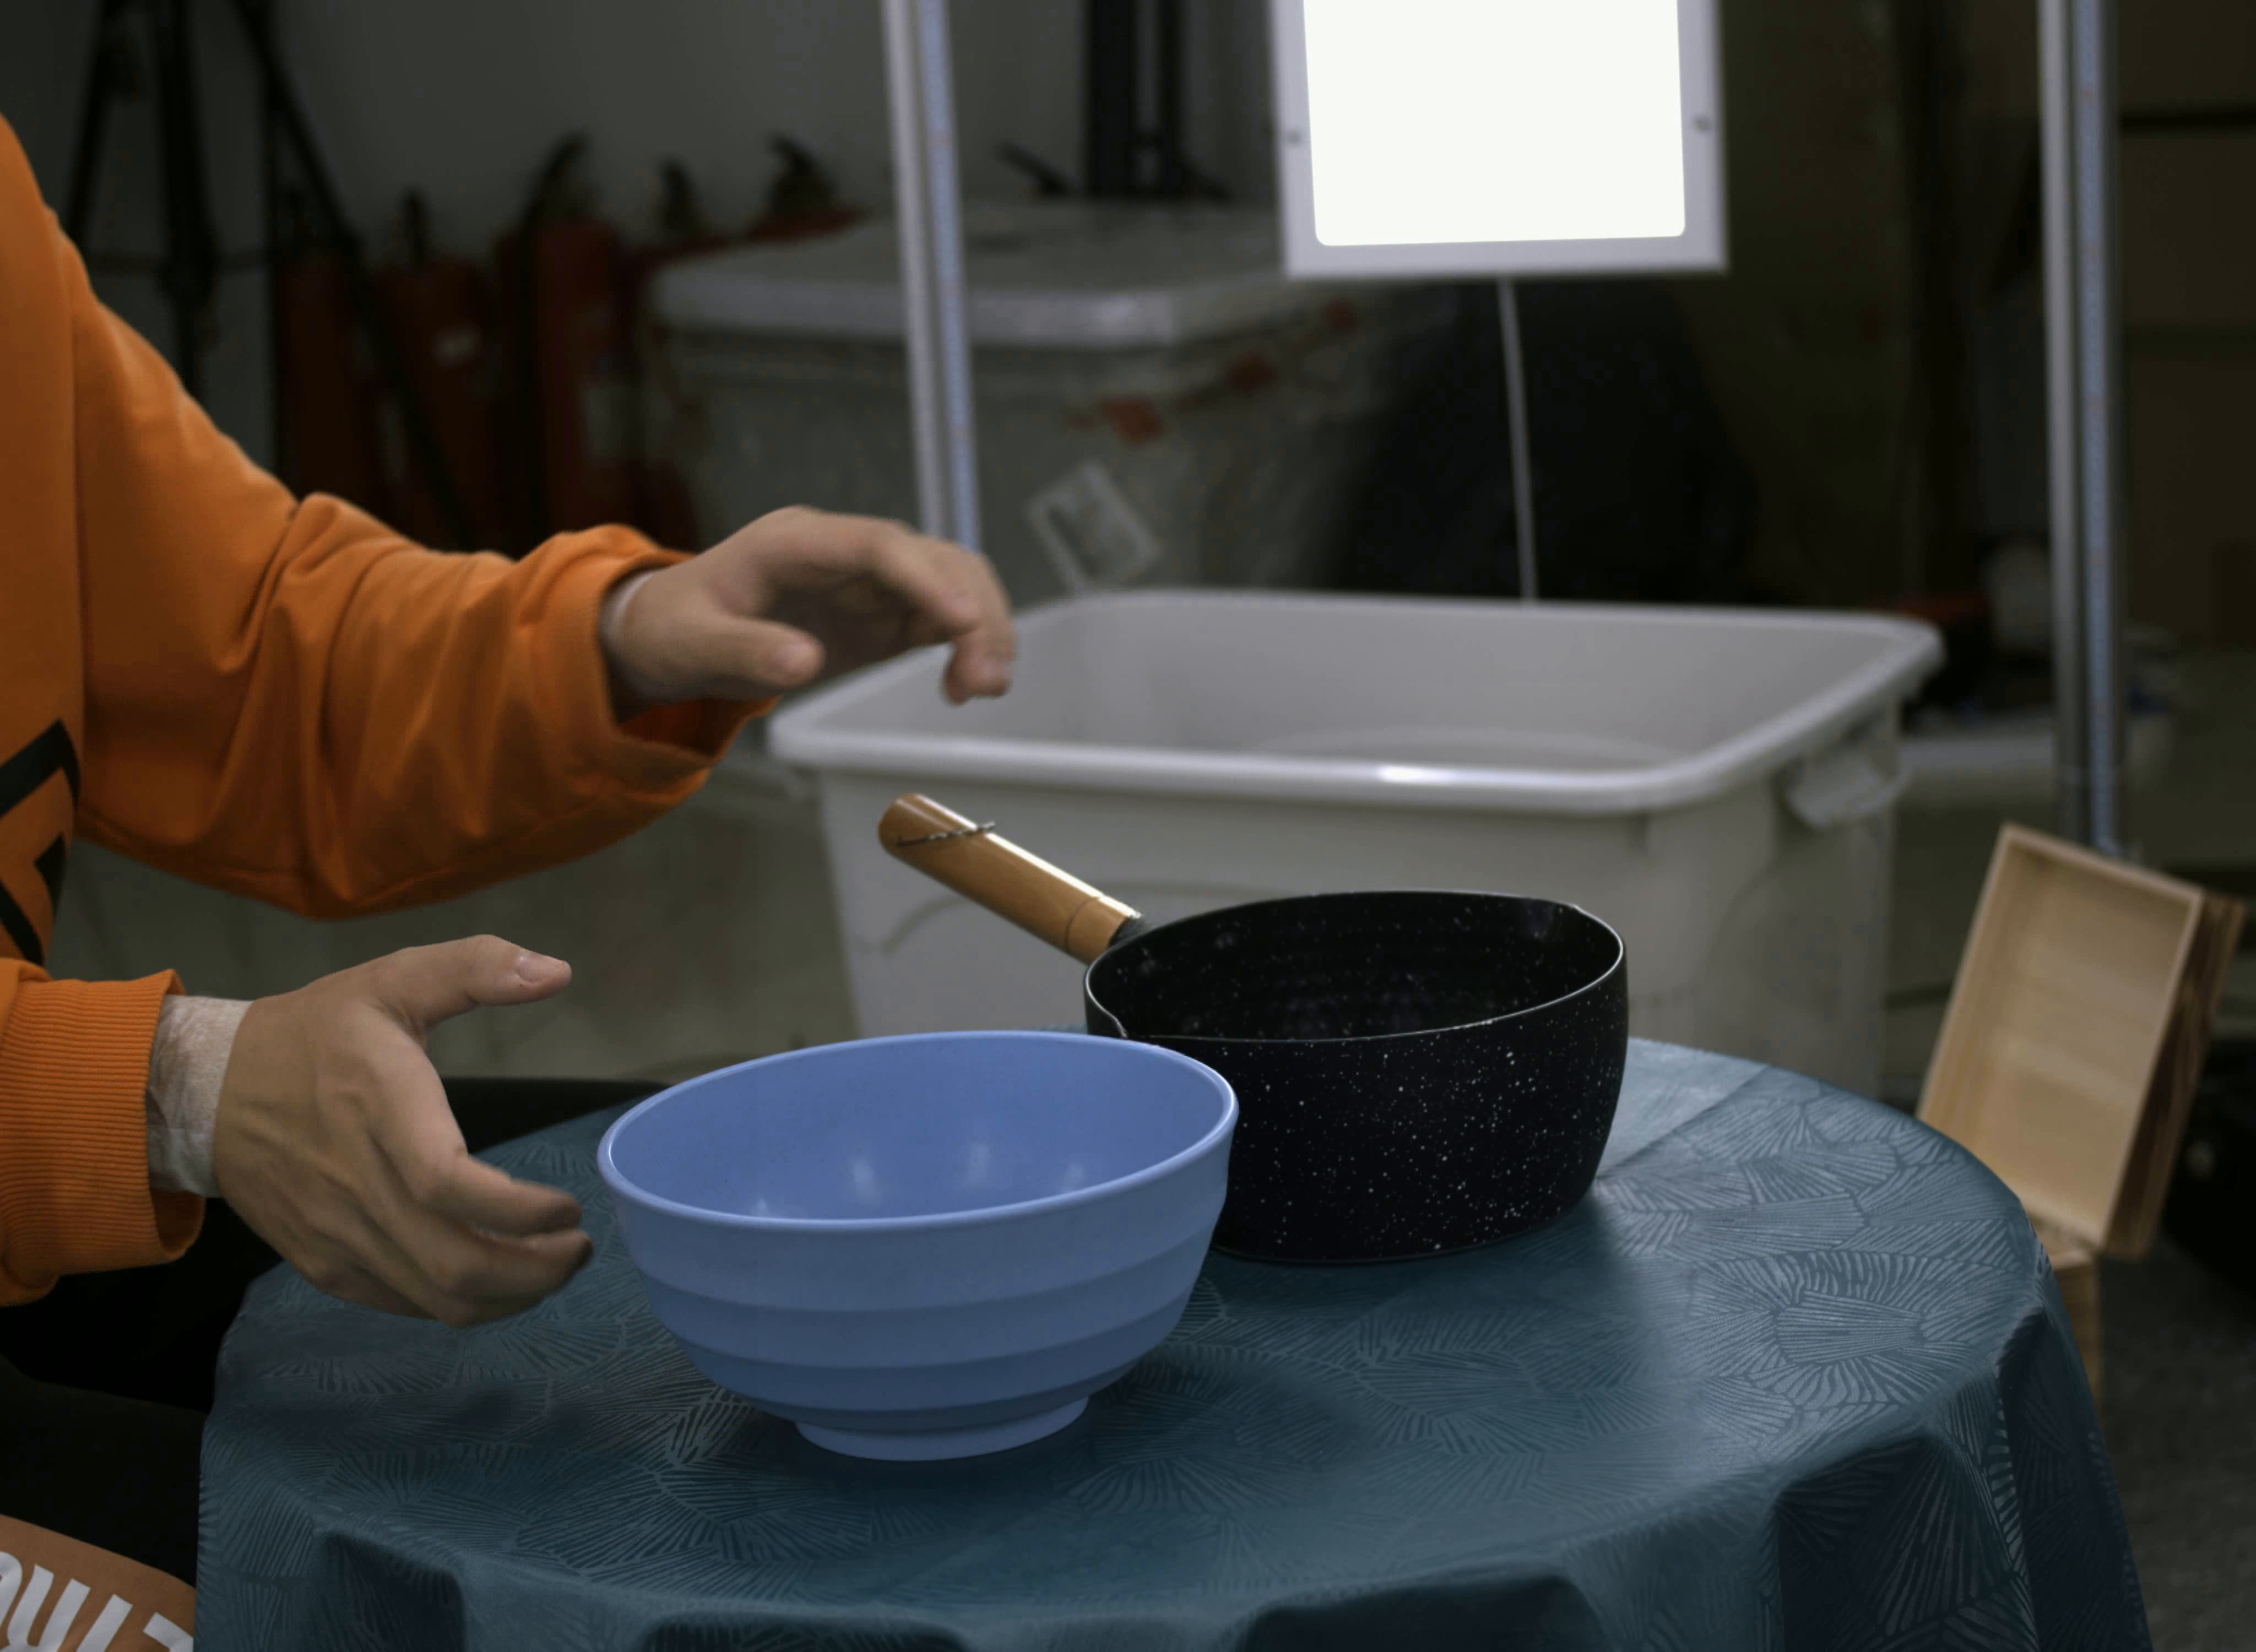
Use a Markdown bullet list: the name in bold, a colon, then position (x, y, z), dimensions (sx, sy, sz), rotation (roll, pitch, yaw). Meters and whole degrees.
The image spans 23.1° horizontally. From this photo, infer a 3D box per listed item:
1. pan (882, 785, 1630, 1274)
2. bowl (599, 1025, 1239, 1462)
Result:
- **pan**: position (0.026, 0.064, 1.917), dimensions (0.202, 0.108, 0.350), rotation (-18, 20, -37)
- **bowl**: position (-0.060, 0.134, 1.688), dimensions (0.196, 0.096, 0.196), rotation (-5, 15, 0)
